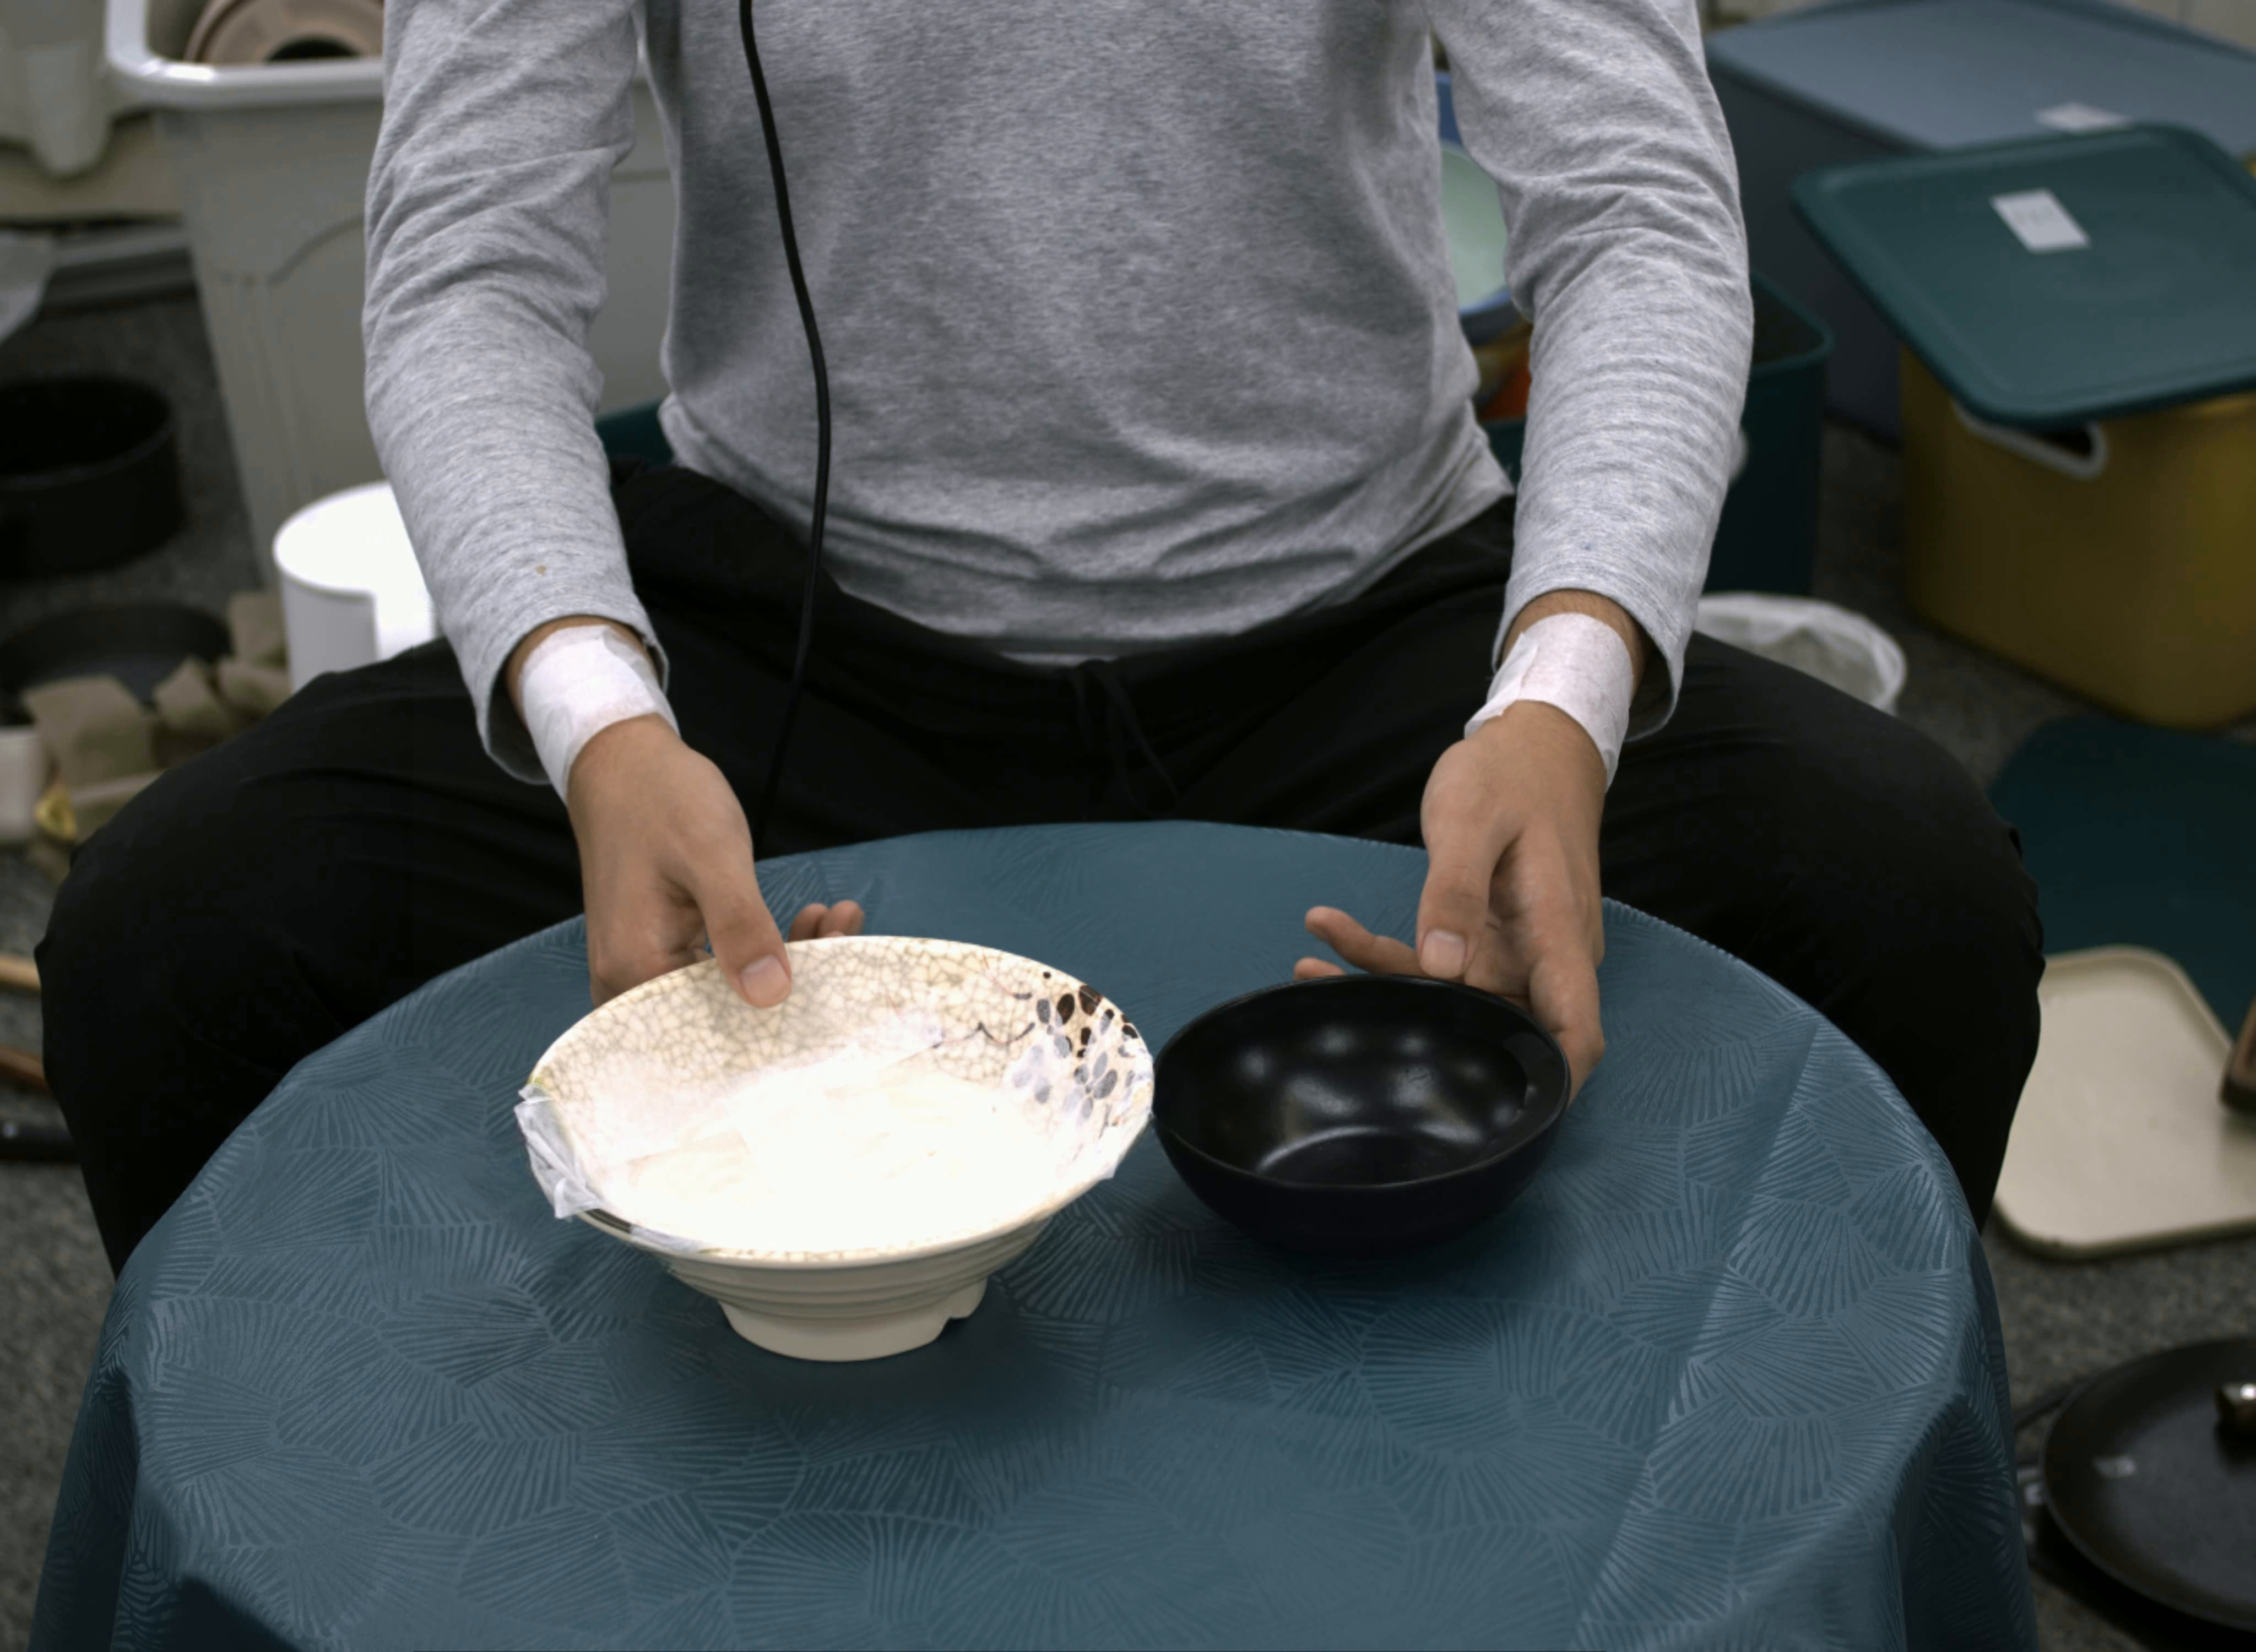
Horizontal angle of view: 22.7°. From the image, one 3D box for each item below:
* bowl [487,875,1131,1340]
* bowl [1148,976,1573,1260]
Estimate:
[{"bbox_3d":[-0.100,0.106,1.789,0.203,0.077,0.208,0,35,0],"label":"bowl"},{"bbox_3d":[0.076,0.103,1.837,0.139,0.049,0.142,0,26,0],"label":"bowl"}]
